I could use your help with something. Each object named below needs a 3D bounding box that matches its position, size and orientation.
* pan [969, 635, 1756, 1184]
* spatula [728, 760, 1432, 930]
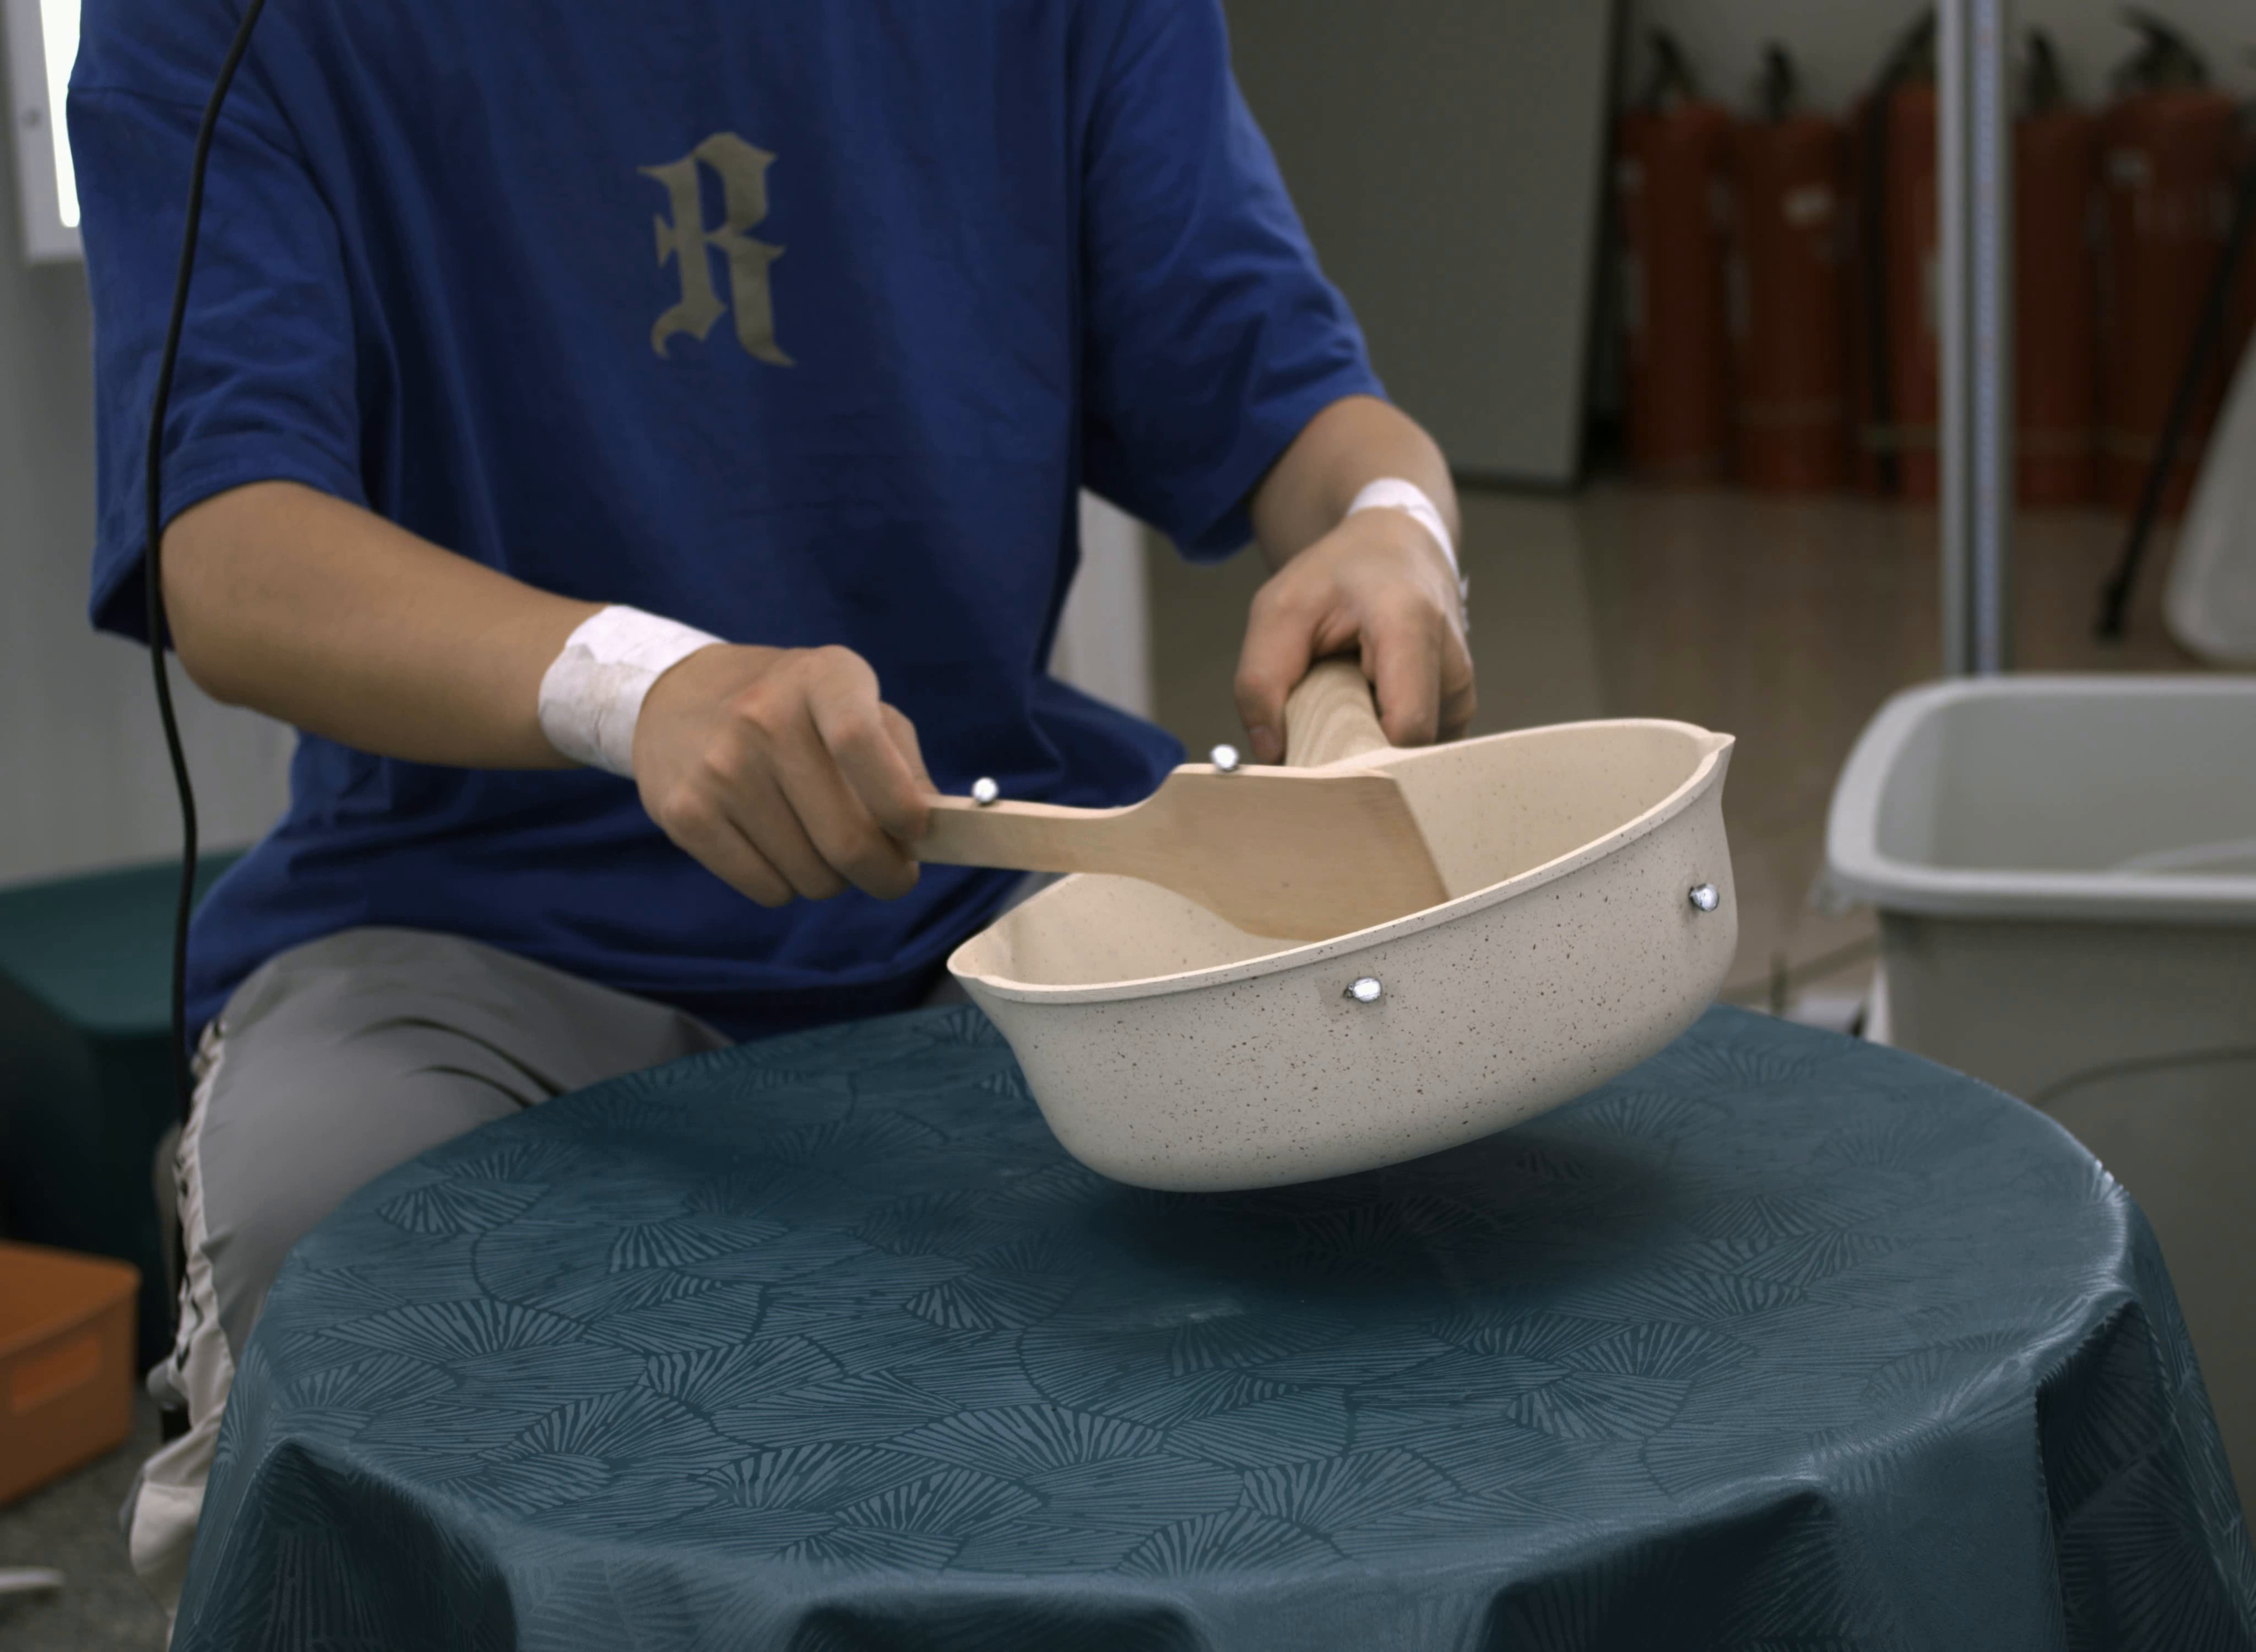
[{"bbox_3d":[0.083,0.016,1.810,0.261,0.103,0.435,-19,10,4],"label":"pan"},{"bbox_3d":[-0.022,0.002,1.761,0.295,0.072,0.010,4,41,40],"label":"spatula"}]
